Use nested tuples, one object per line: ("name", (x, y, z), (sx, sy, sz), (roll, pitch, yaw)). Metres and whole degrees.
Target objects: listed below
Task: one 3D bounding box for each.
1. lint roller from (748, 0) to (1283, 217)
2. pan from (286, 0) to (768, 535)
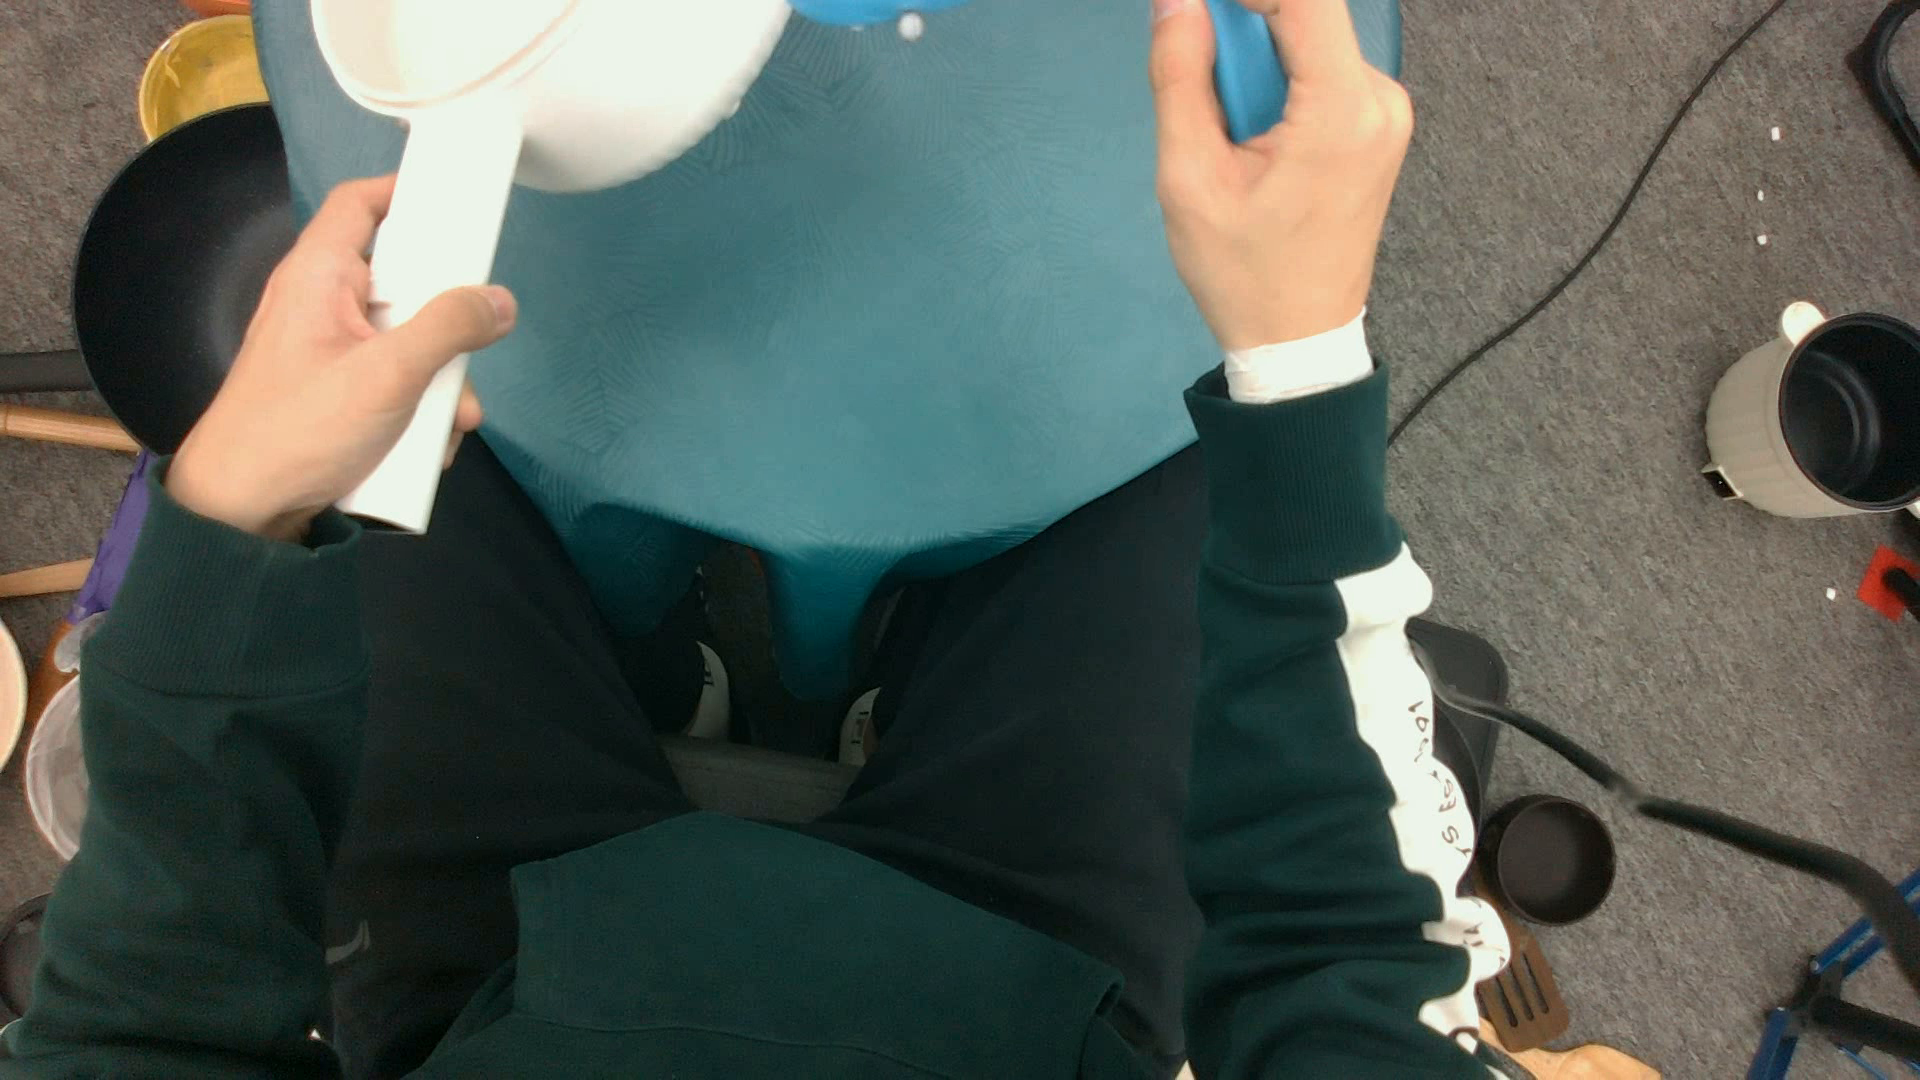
("lint roller", (0.059, -0.194, 0.459), (0.229, 0.068, 0.180), (-38, 88, -14))
("pan", (-0.177, -0.172, 0.555), (0.201, 0.102, 0.355), (0, 78, 28))
